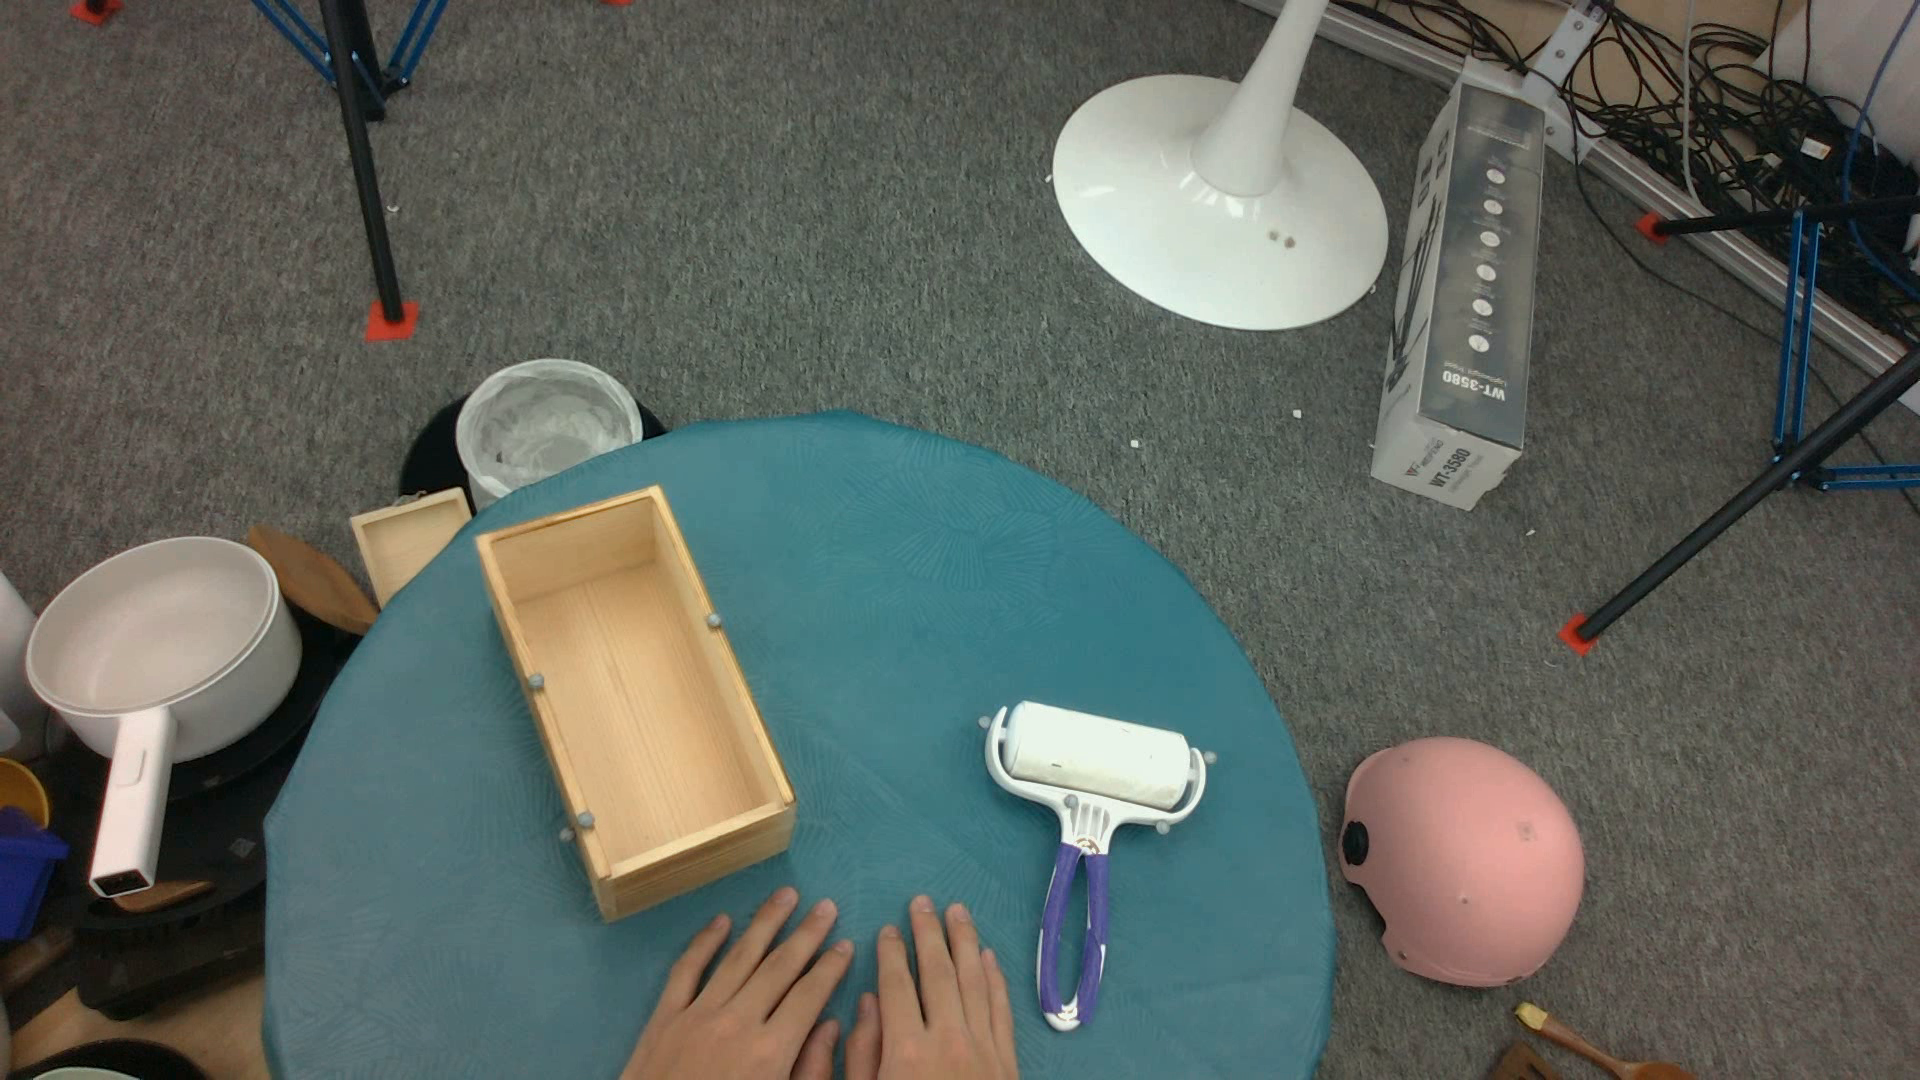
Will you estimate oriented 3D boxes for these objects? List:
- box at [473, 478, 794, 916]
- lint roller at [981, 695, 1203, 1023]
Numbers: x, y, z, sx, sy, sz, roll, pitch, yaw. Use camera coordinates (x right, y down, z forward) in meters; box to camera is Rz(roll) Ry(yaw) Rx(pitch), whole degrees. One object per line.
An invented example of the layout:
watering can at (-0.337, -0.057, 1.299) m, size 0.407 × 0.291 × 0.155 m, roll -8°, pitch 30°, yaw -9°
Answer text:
box at (-0.185, 0.083, 0.772) m, size 0.108 × 0.080 × 0.212 m, roll -19°, pitch 65°, yaw -22°
lint roller at (0.069, 0.179, 0.786) m, size 0.133 × 0.050 × 0.181 m, roll 14°, pitch 55°, yaw -5°
